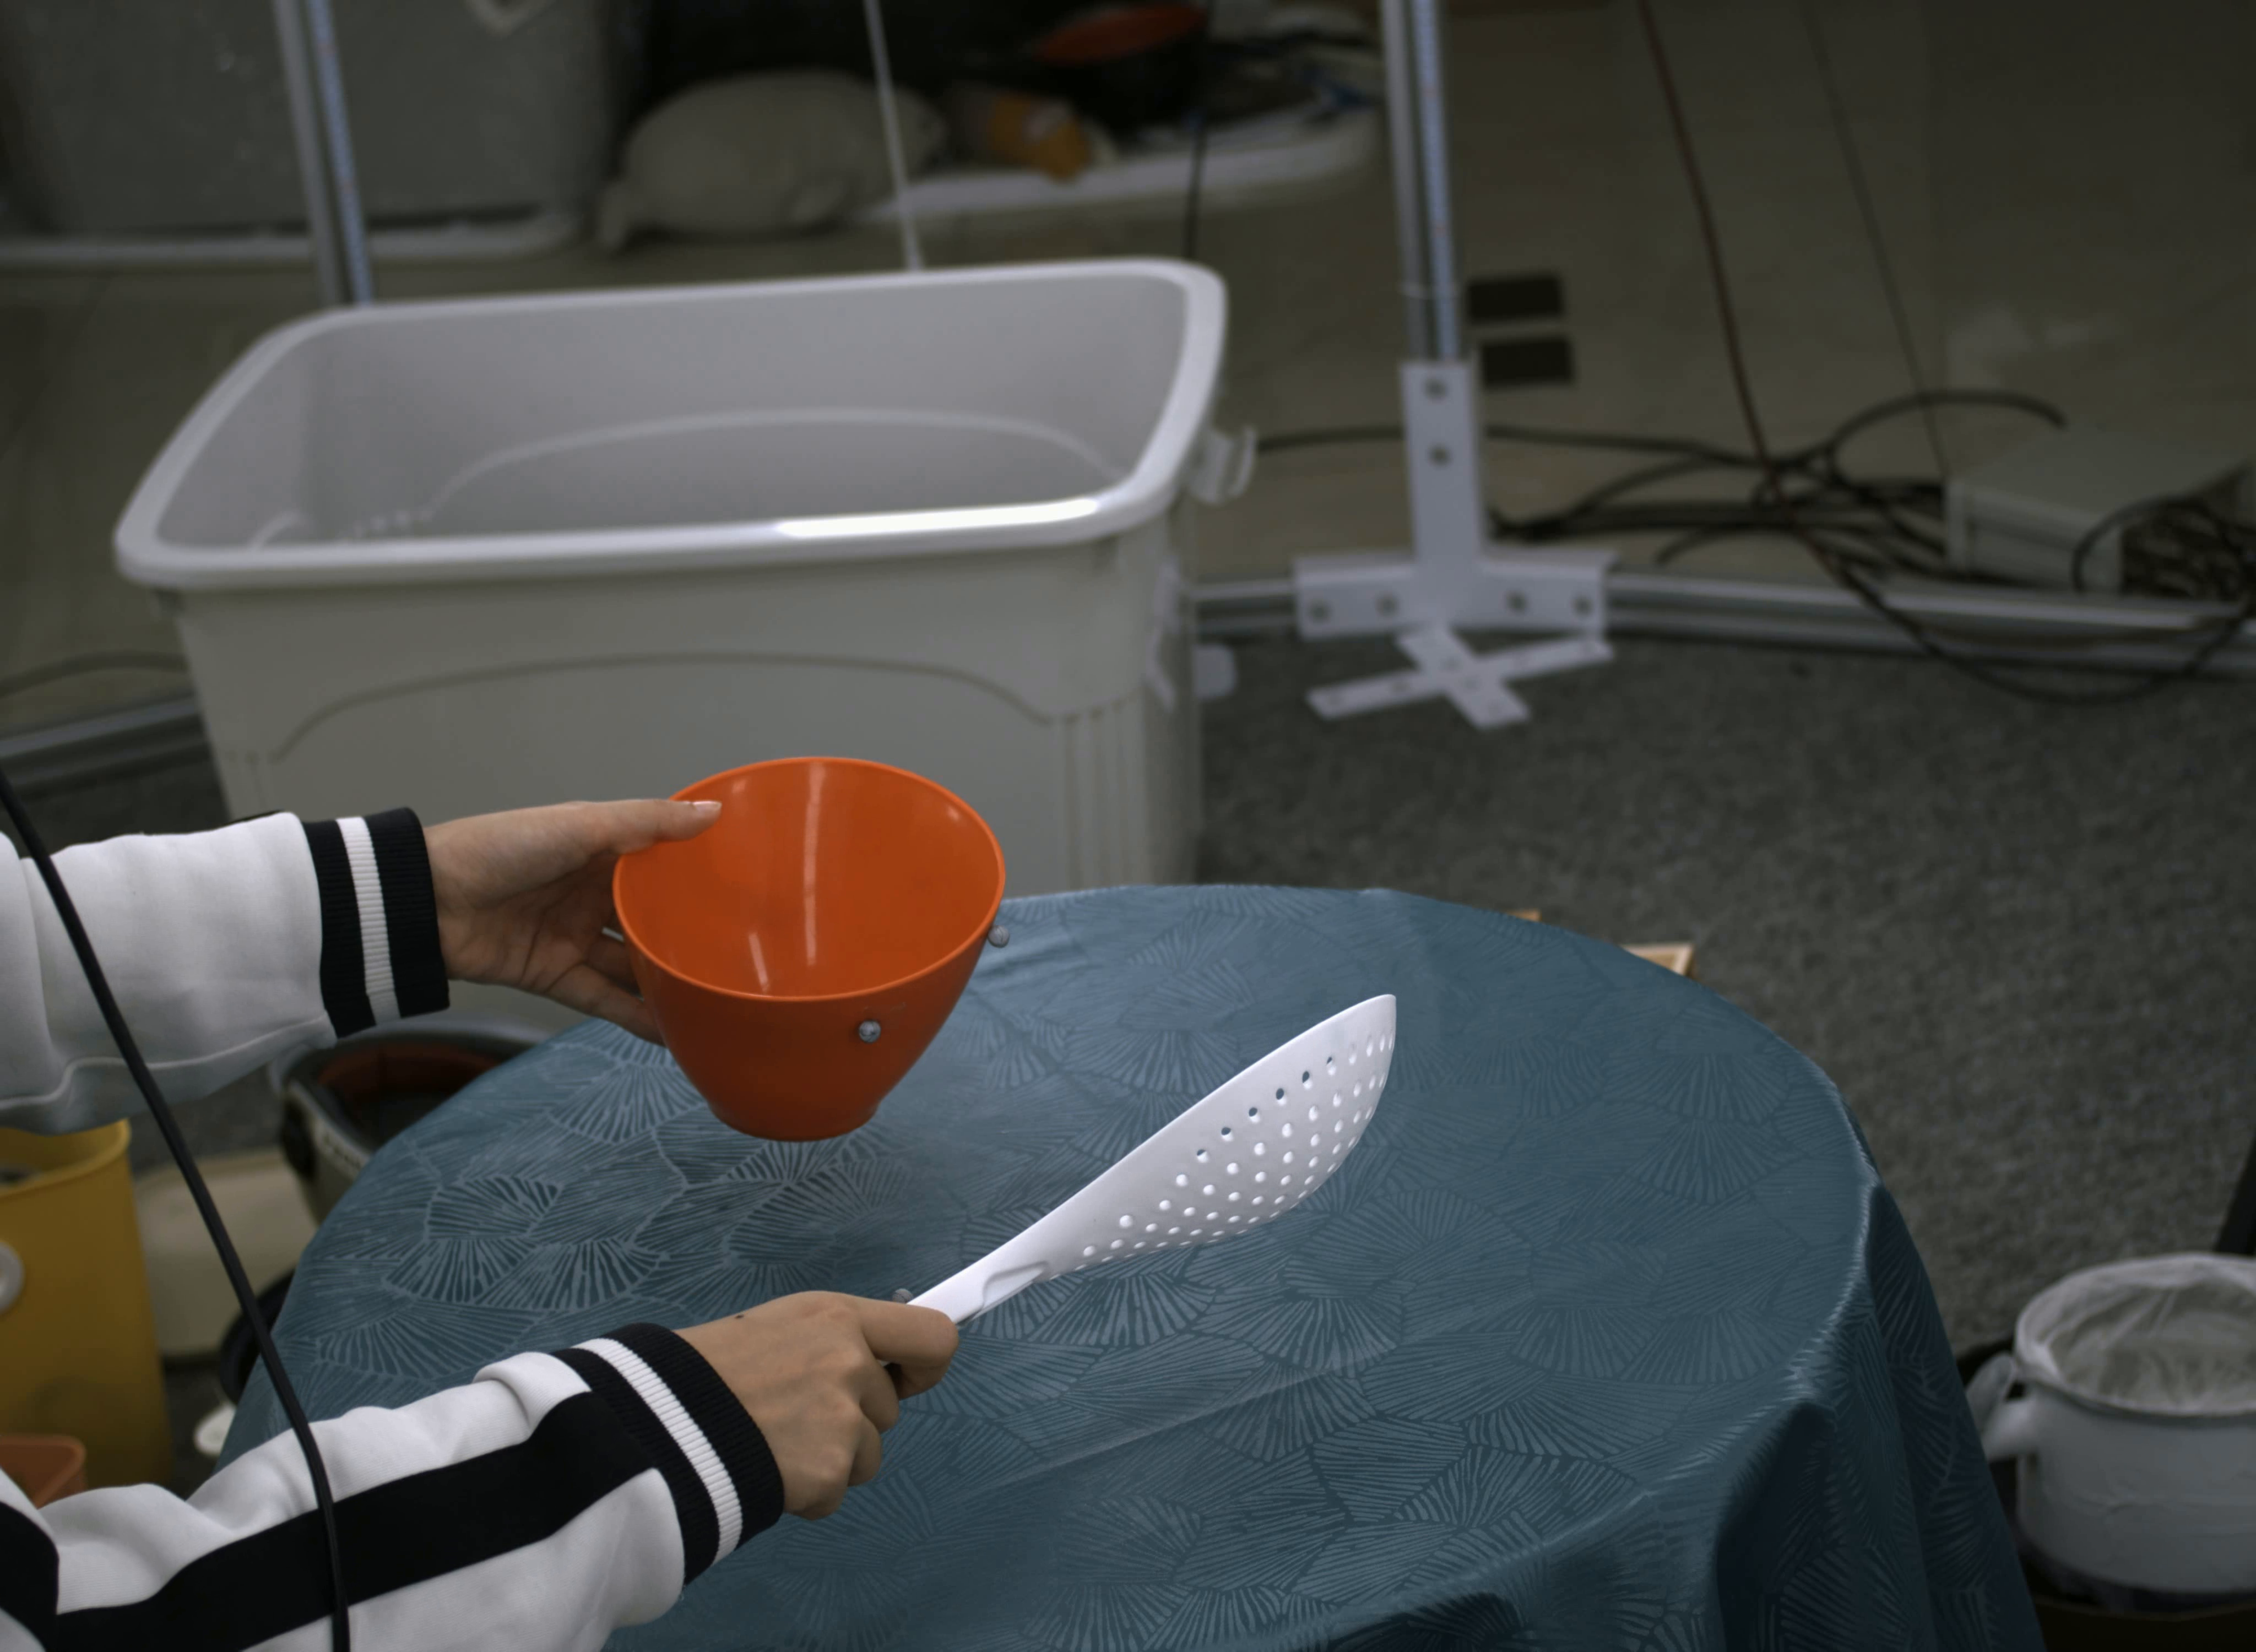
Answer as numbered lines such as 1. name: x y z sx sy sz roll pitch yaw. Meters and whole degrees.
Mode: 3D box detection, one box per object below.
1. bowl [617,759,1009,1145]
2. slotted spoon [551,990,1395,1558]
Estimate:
1. bowl: -0.122 0.055 2.151 0.148 0.106 0.145 4 31 -2
2. slotted spoon: -0.045 0.150 1.889 0.347 0.138 0.045 -24 76 -25
